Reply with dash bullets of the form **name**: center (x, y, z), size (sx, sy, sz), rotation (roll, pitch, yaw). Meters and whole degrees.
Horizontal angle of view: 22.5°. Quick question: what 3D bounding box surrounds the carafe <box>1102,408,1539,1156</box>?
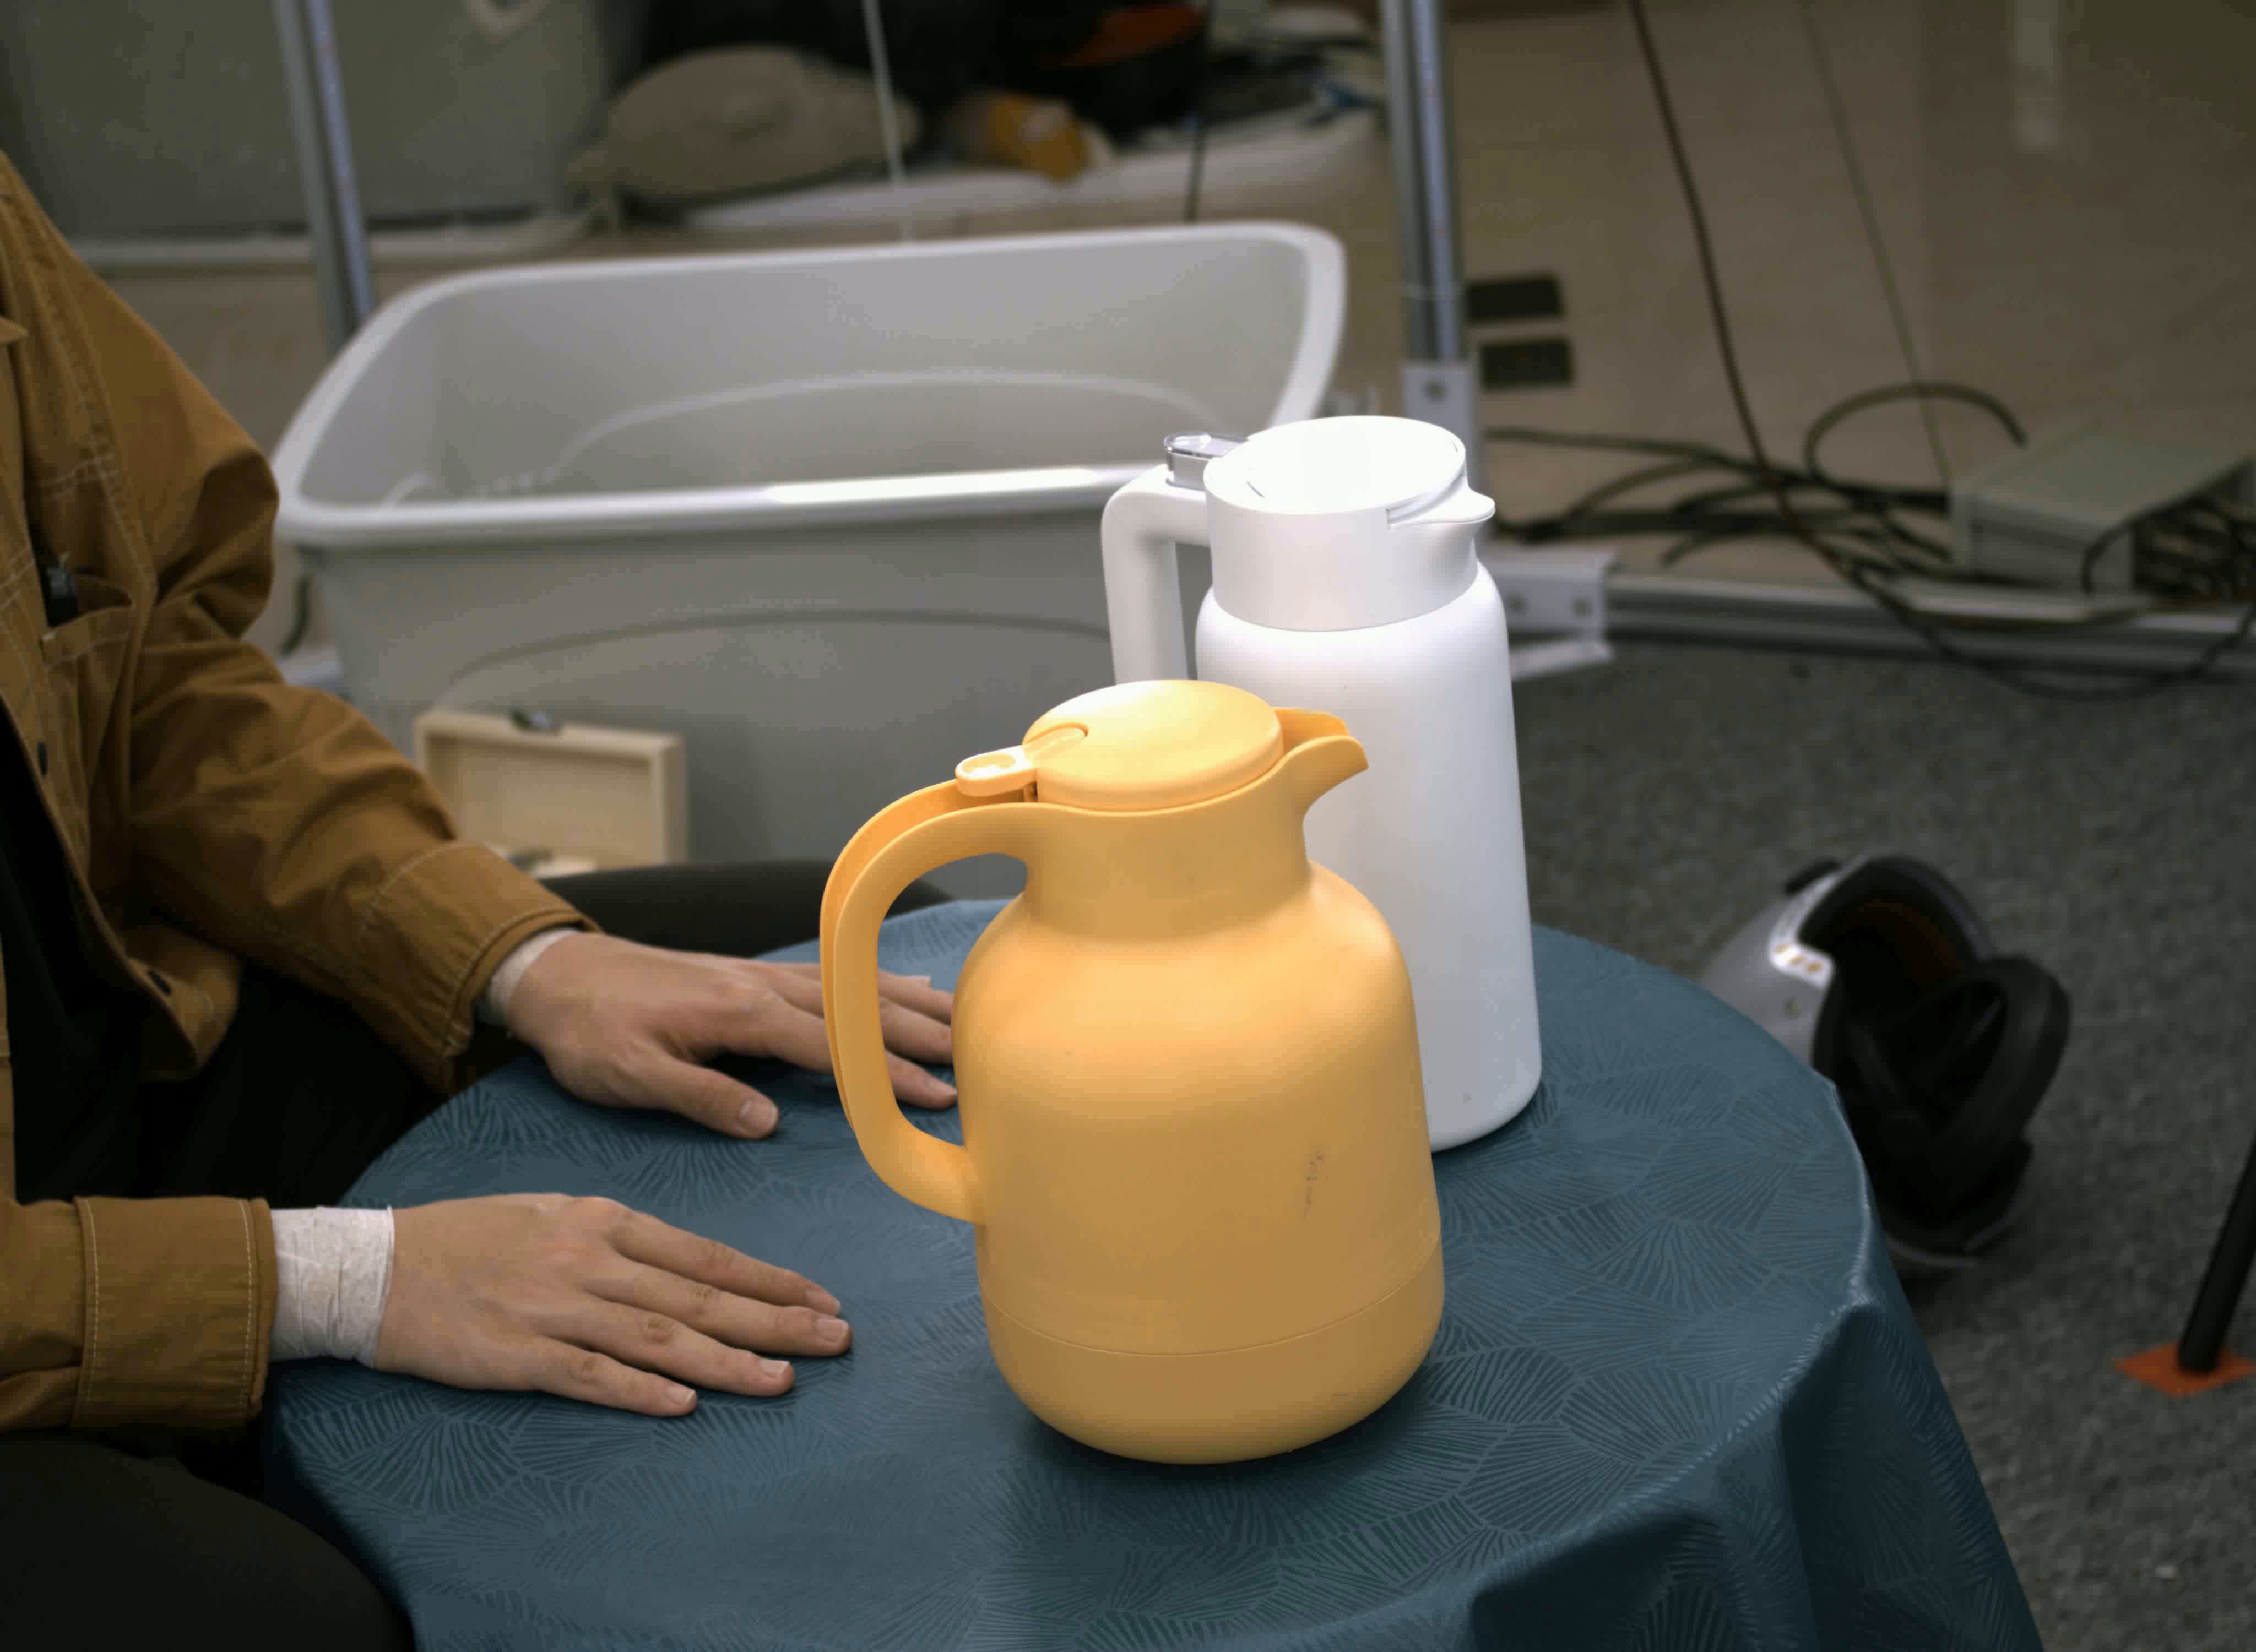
- **carafe**: center (0.074, -0.017, 2.145), size (0.172, 0.273, 0.122), rotation (12, 33, 34)

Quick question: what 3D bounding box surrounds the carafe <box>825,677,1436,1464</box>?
- **carafe**: center (0.000, 0.082, 1.956), size (0.202, 0.264, 0.161), rotation (-9, 23, -8)
